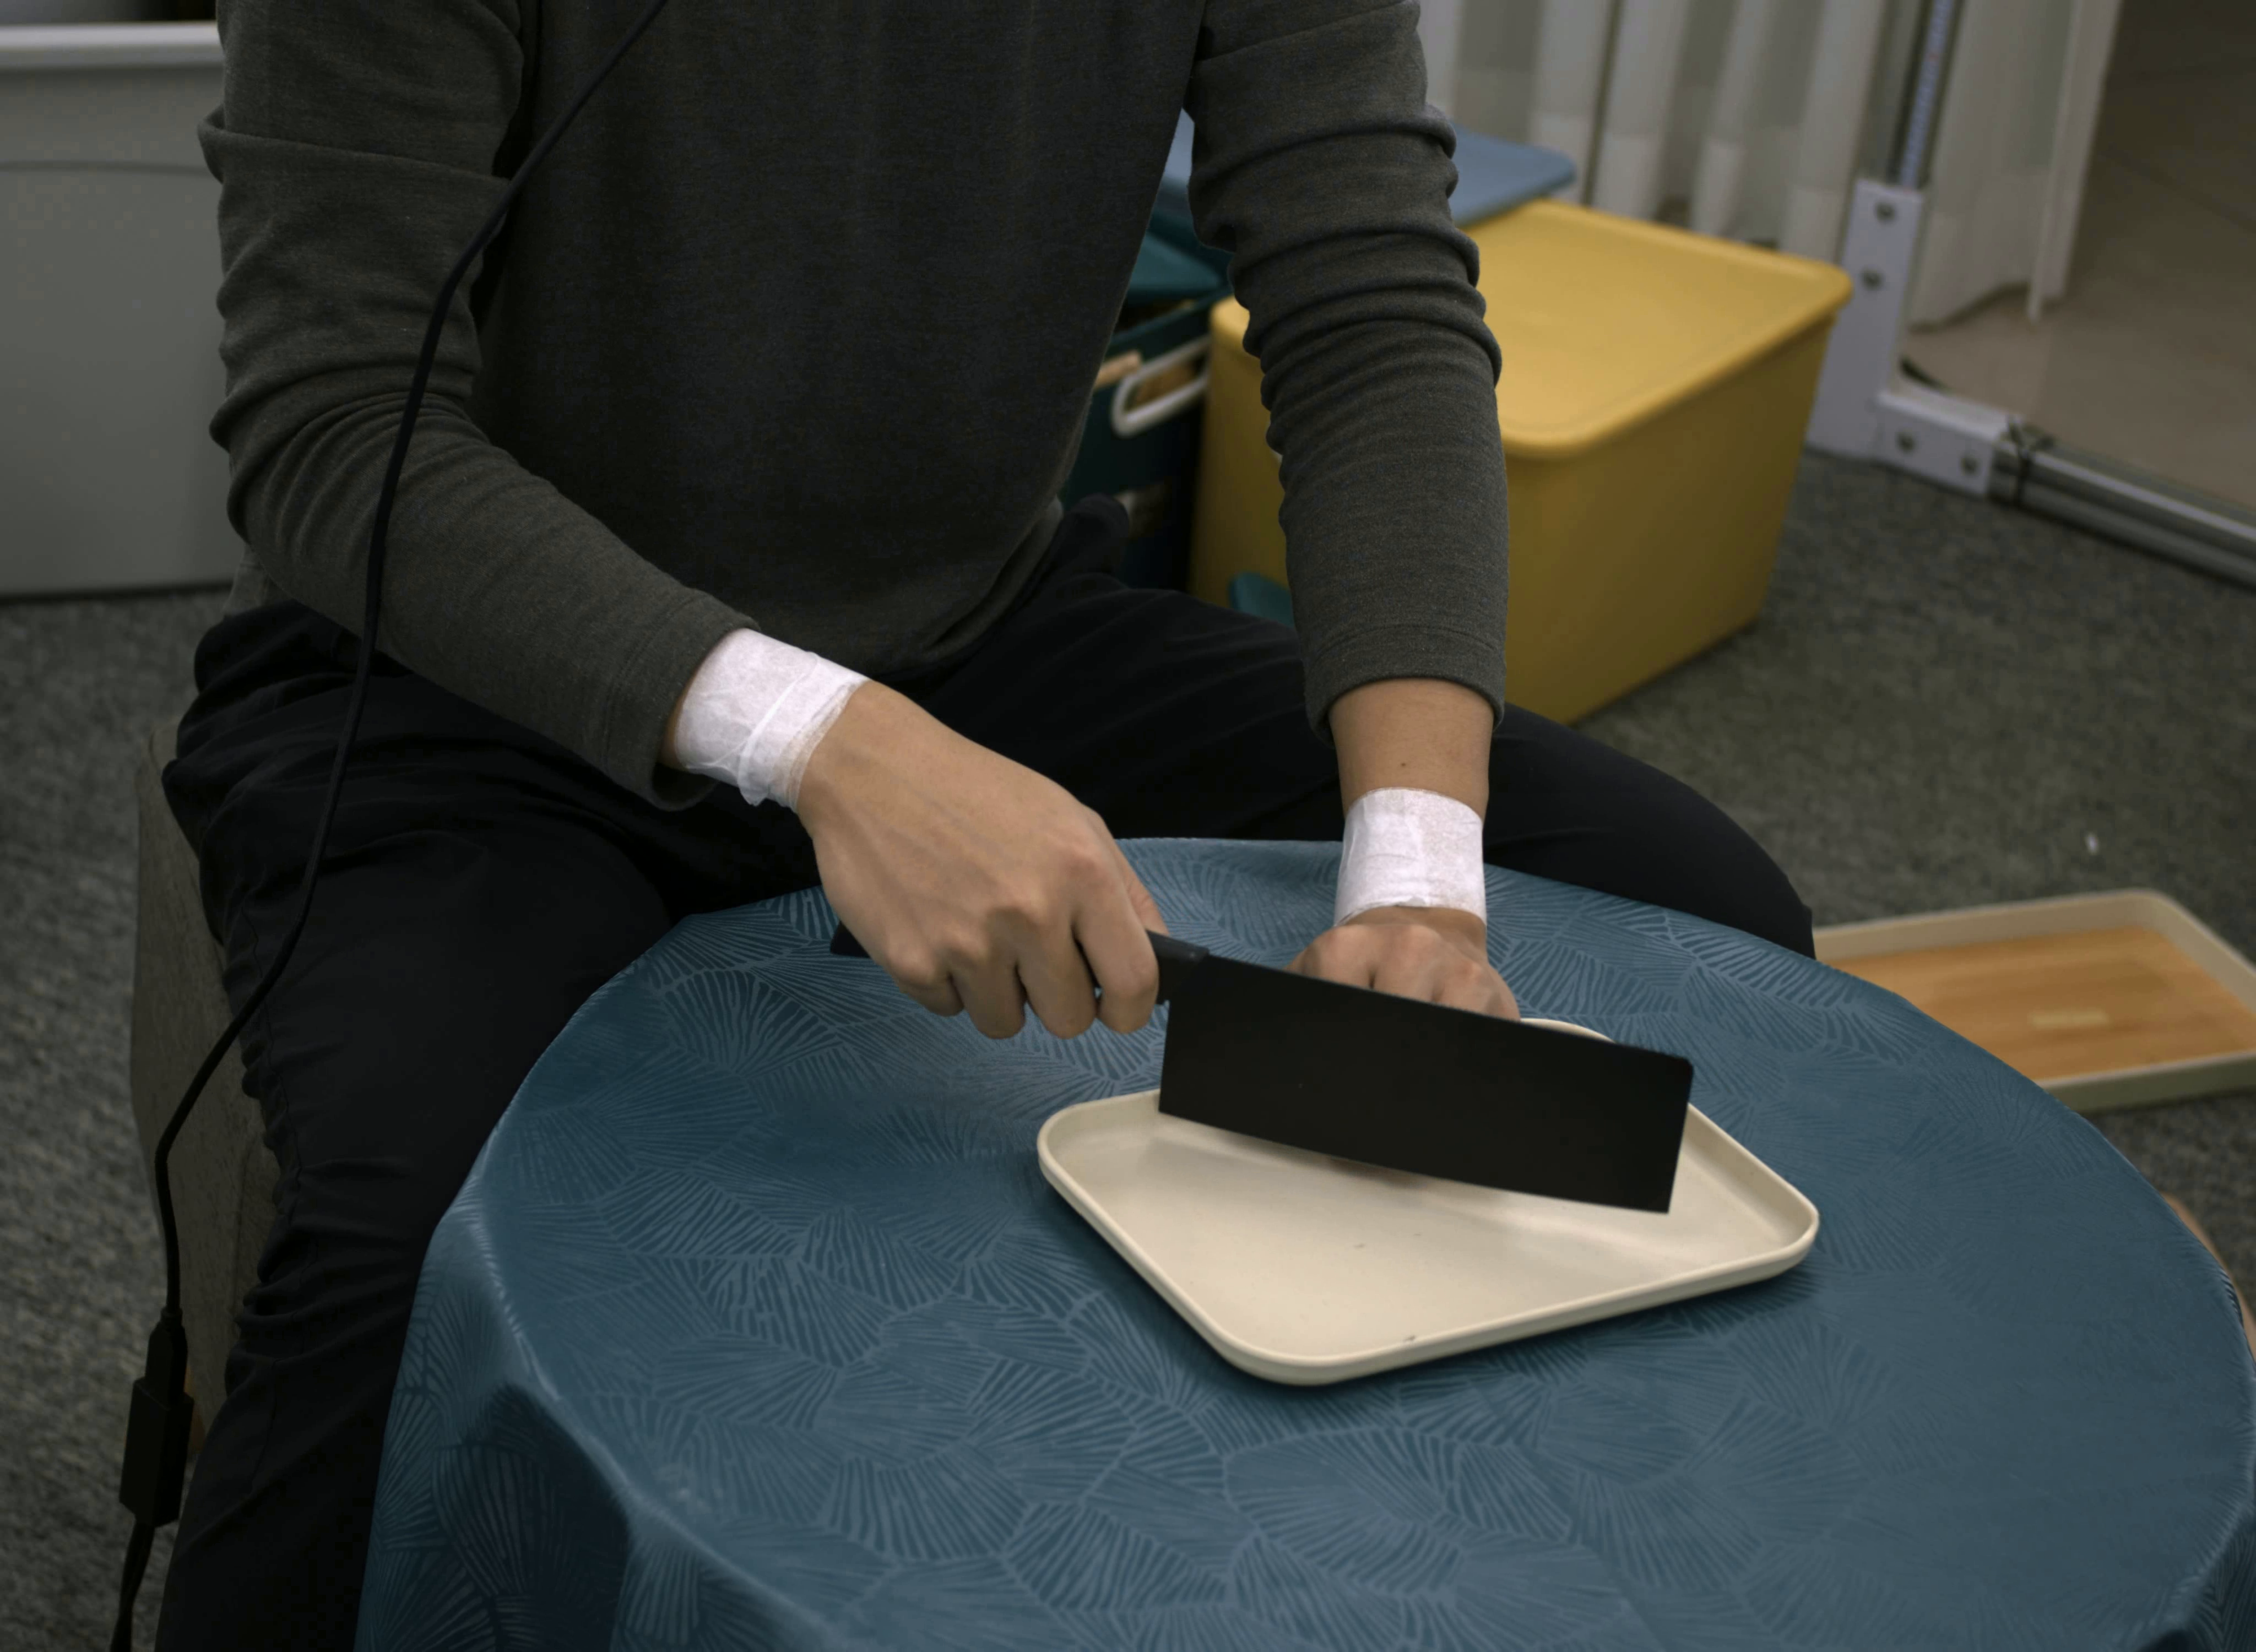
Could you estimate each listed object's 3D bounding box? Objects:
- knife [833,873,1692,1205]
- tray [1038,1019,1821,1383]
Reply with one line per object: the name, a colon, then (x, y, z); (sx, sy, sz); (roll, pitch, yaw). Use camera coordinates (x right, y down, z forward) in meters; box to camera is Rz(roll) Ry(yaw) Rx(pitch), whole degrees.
knife: (0.043, 0.070, 1.810); (0.302, 0.081, 0.021); (16, 26, 11)
tray: (0.102, 0.126, 1.804); (0.238, 0.017, 0.173); (-10, 30, -29)
